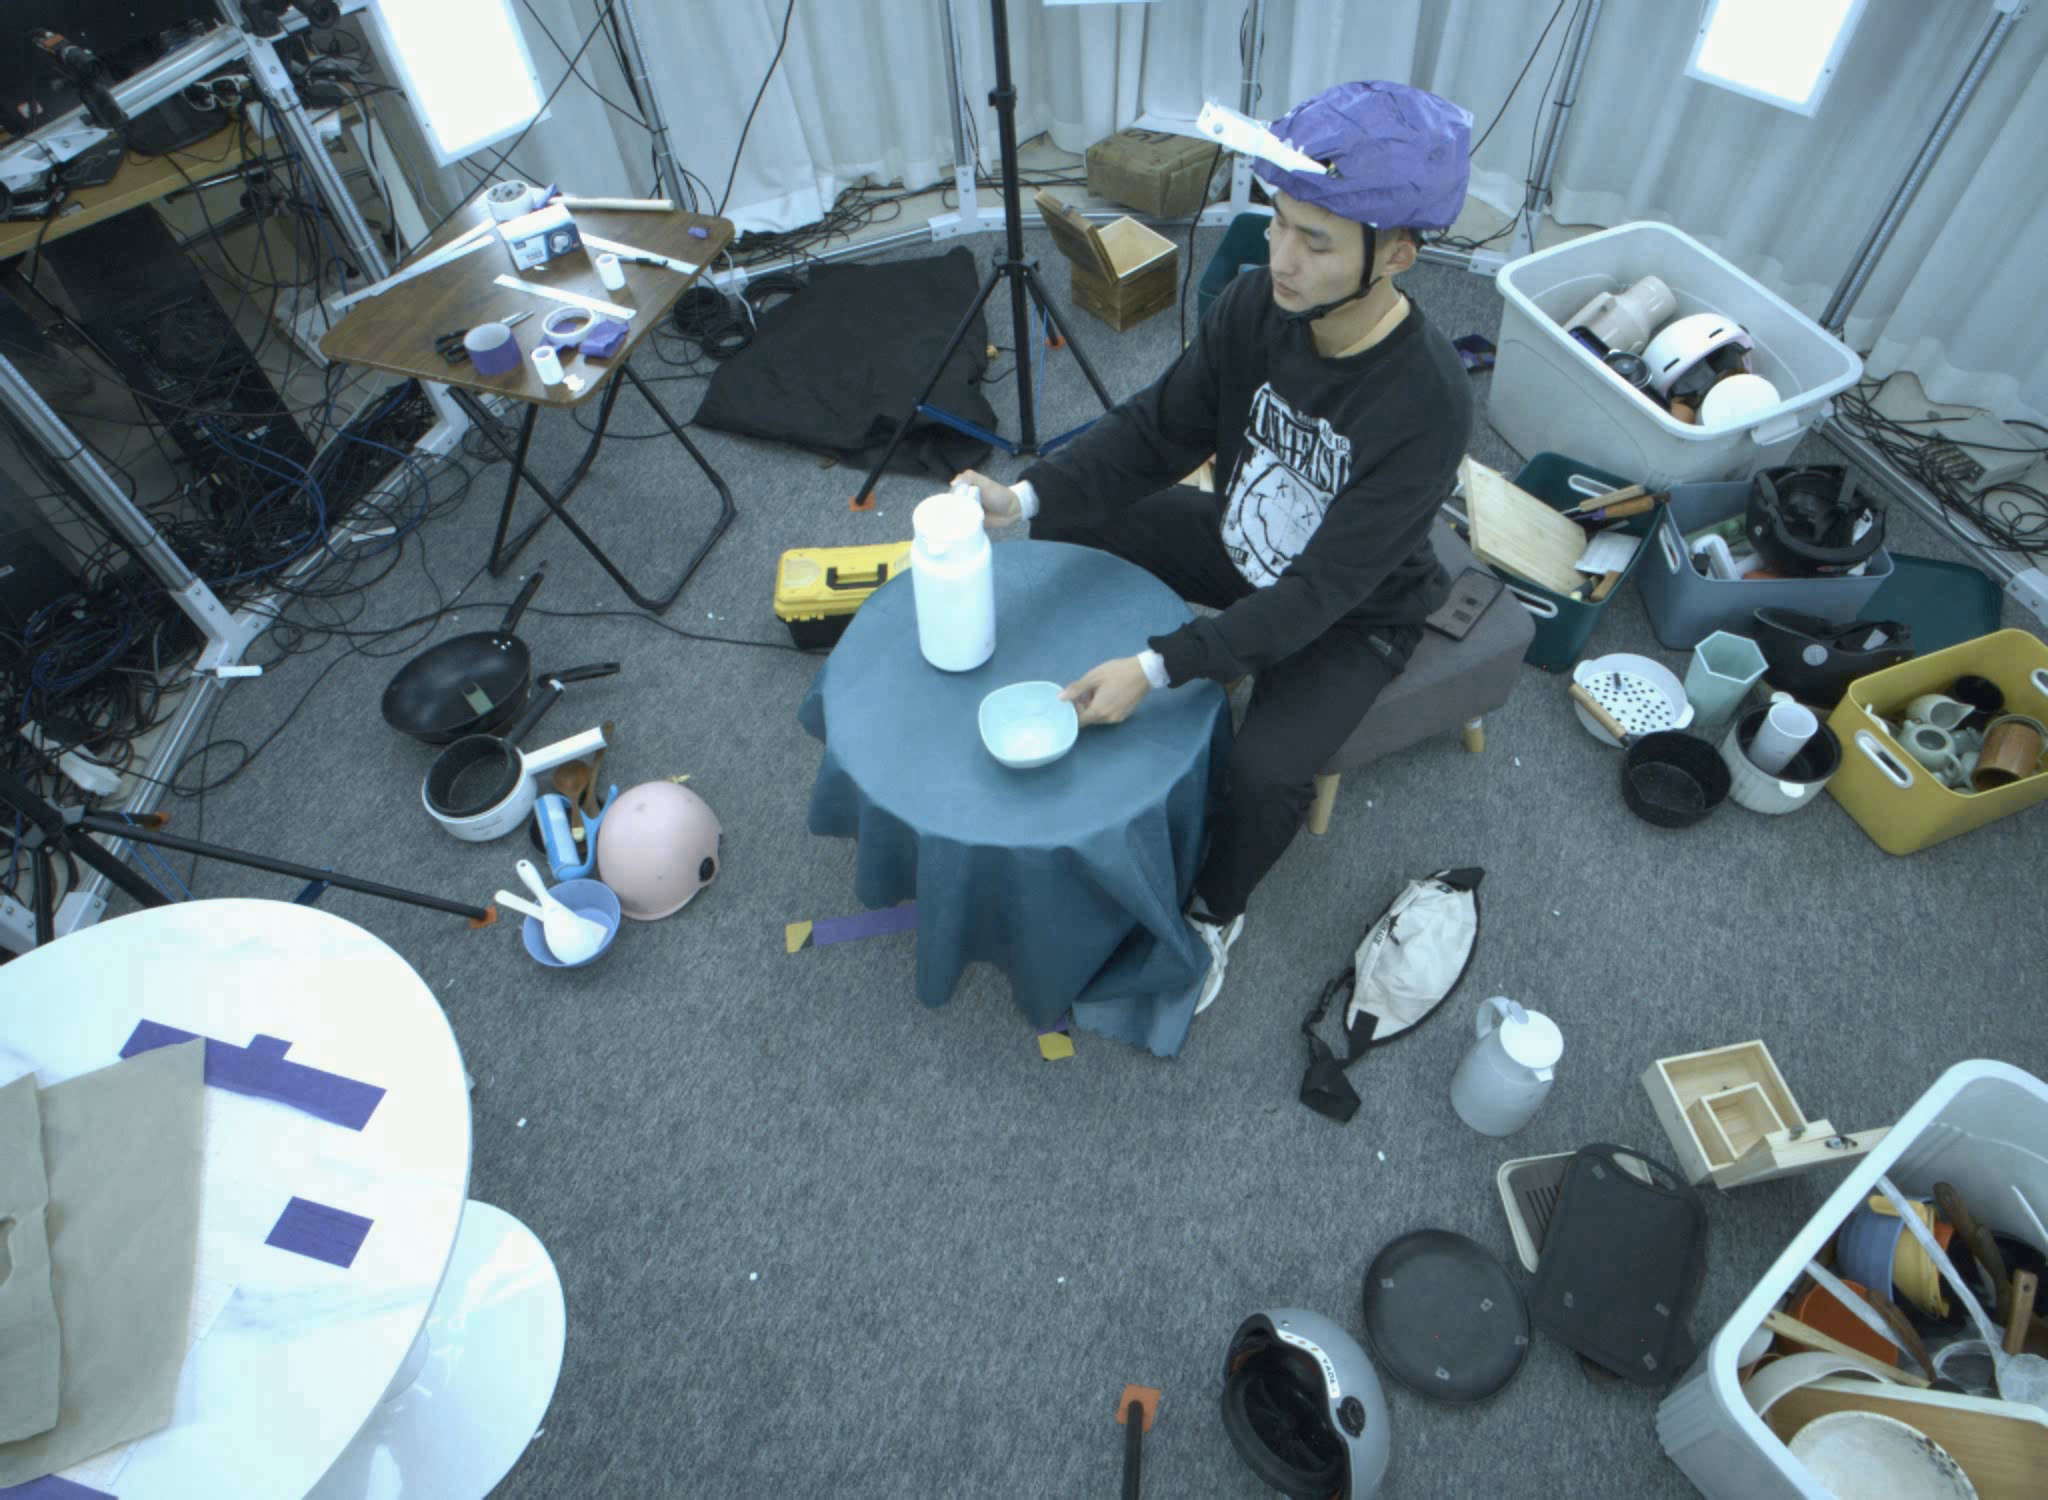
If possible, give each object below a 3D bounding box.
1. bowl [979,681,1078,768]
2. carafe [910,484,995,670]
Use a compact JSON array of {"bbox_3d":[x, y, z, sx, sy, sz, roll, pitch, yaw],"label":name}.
[{"bbox_3d":[0.008,-0.026,1.768,0.151,0.059,0.150,0,55,2],"label":"bowl"},{"bbox_3d":[-0.101,-0.257,1.803,0.123,0.272,0.172,10,54,10],"label":"carafe"}]
